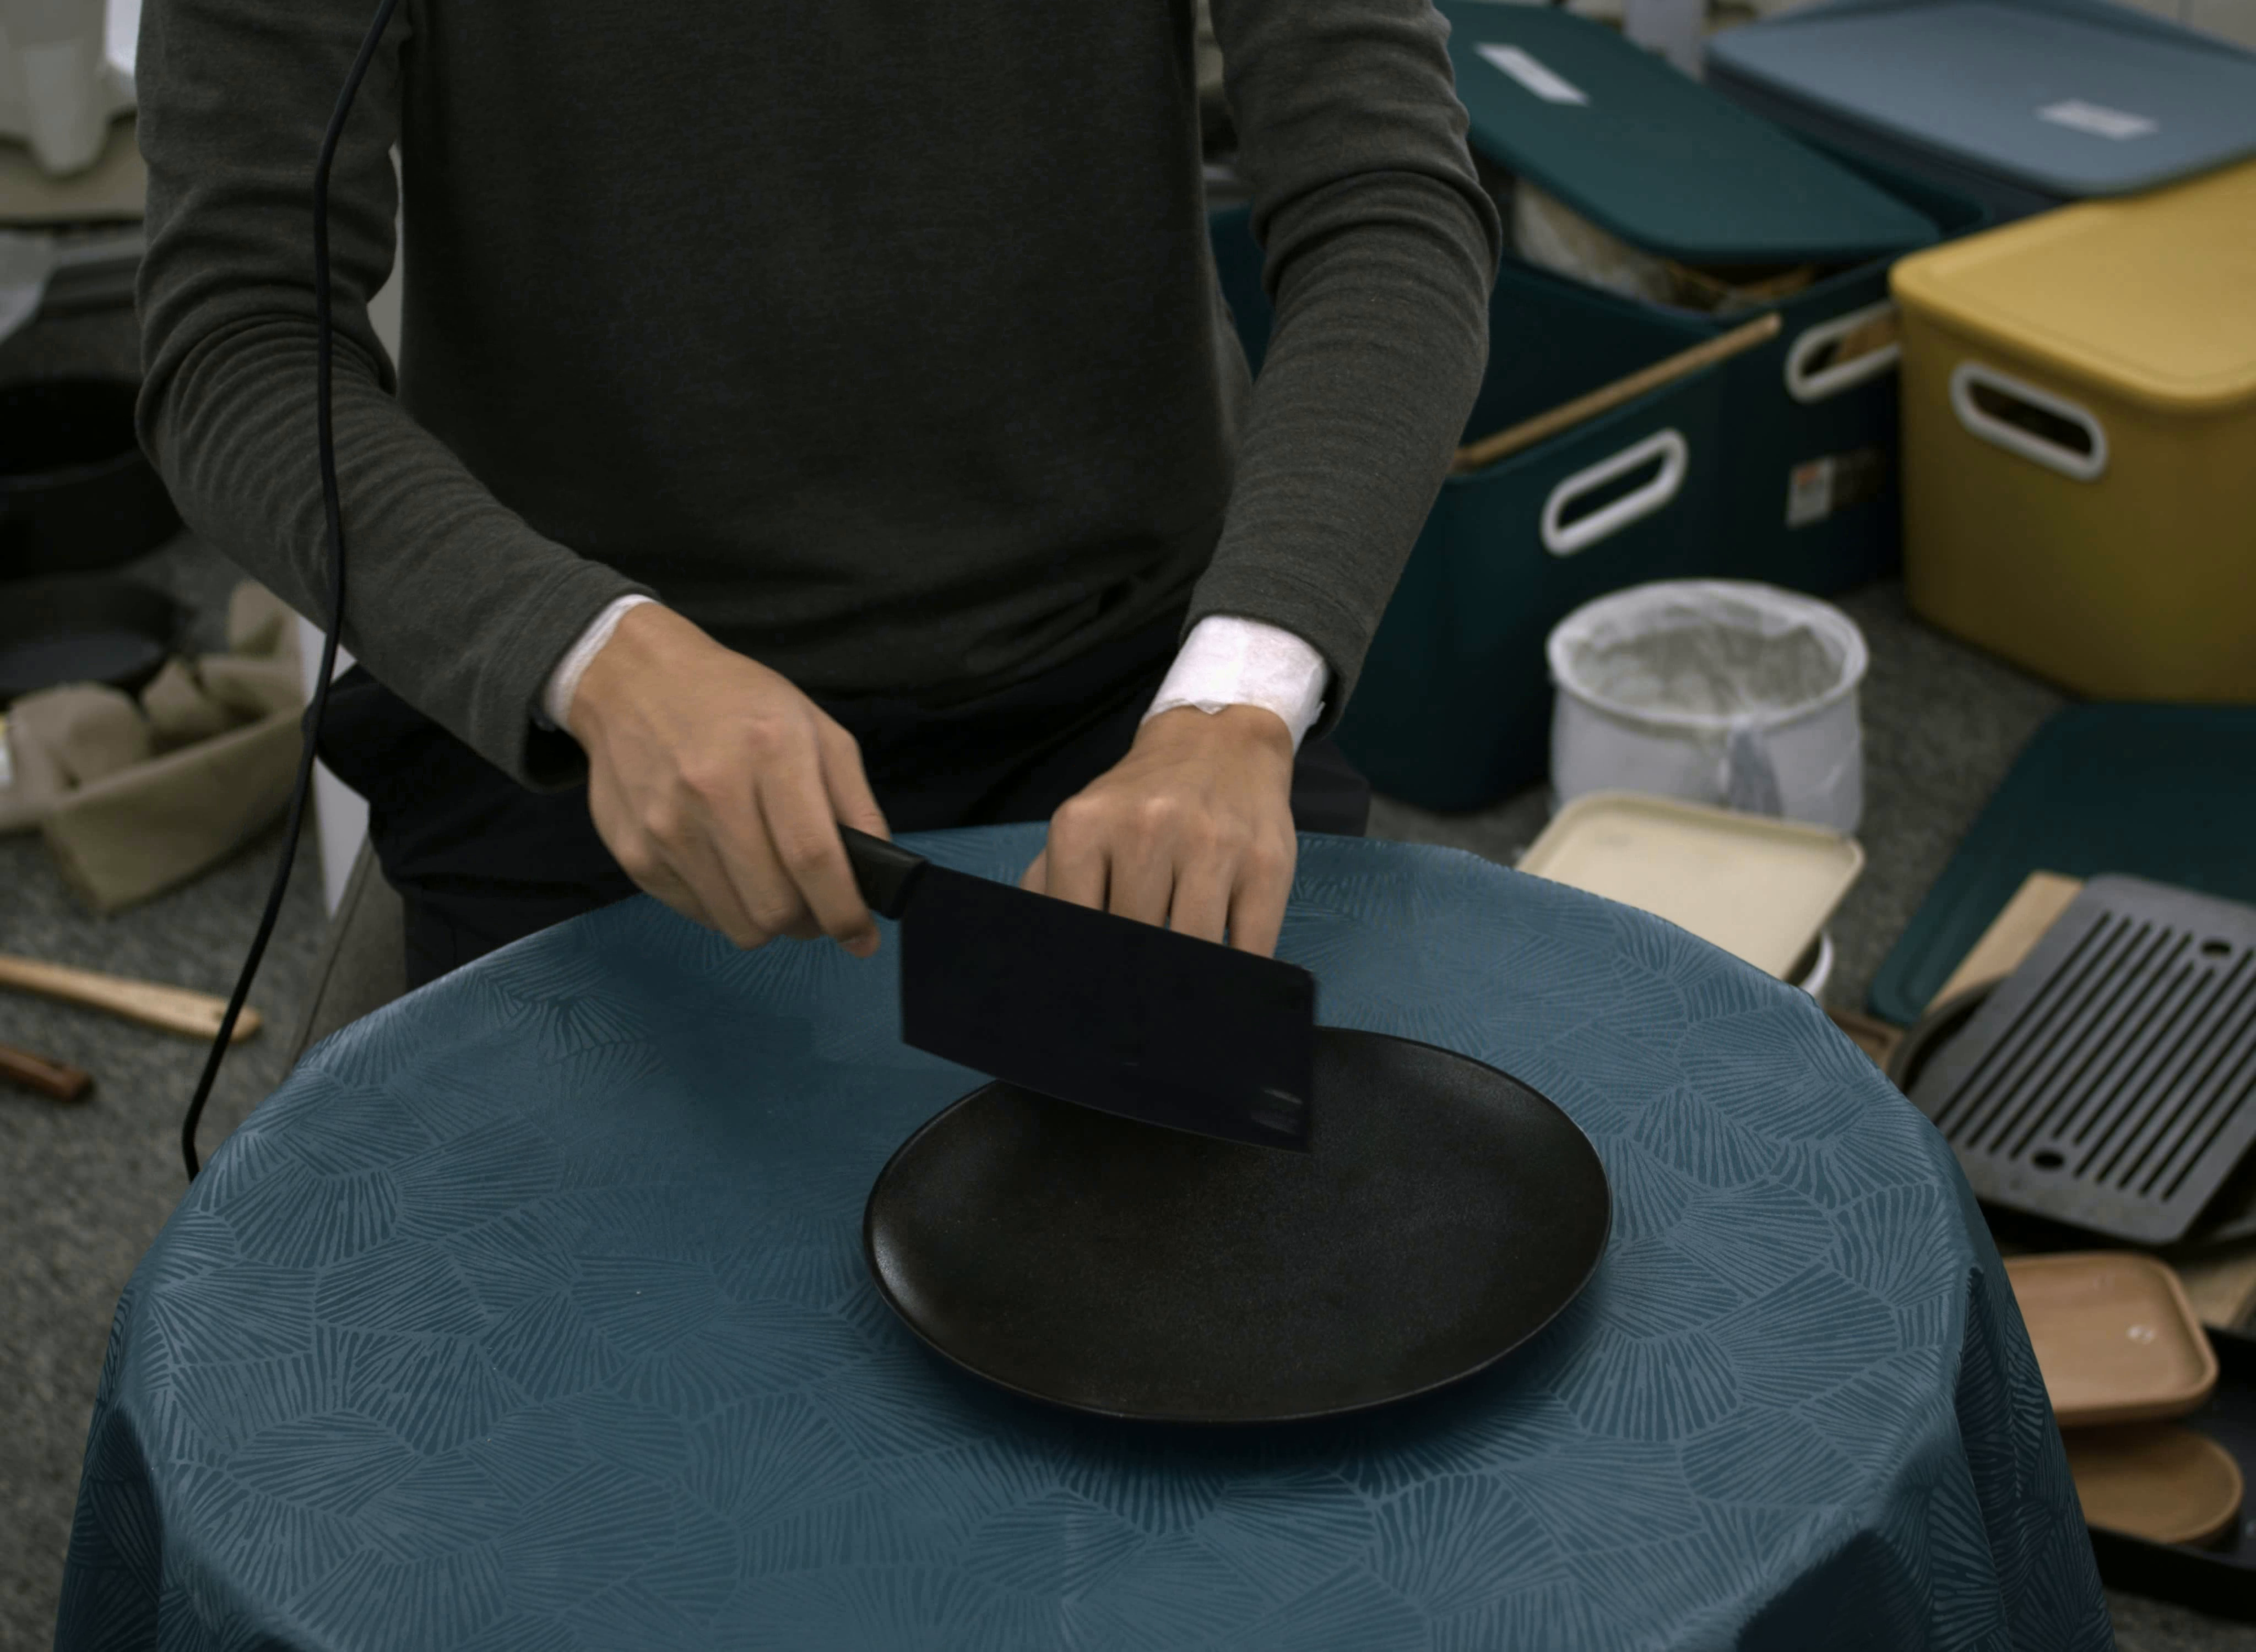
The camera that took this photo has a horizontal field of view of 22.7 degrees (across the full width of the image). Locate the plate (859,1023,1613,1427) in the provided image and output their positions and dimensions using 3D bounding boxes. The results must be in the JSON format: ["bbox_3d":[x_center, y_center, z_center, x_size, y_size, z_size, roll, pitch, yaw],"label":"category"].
[{"bbox_3d":[0.035,0.133,1.812,0.243,0.023,0.248,-2,27,1],"label":"plate"}]

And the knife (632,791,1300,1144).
[{"bbox_3d":[-0.056,0.041,1.823,0.301,0.080,0.021,19,22,40],"label":"knife"}]
